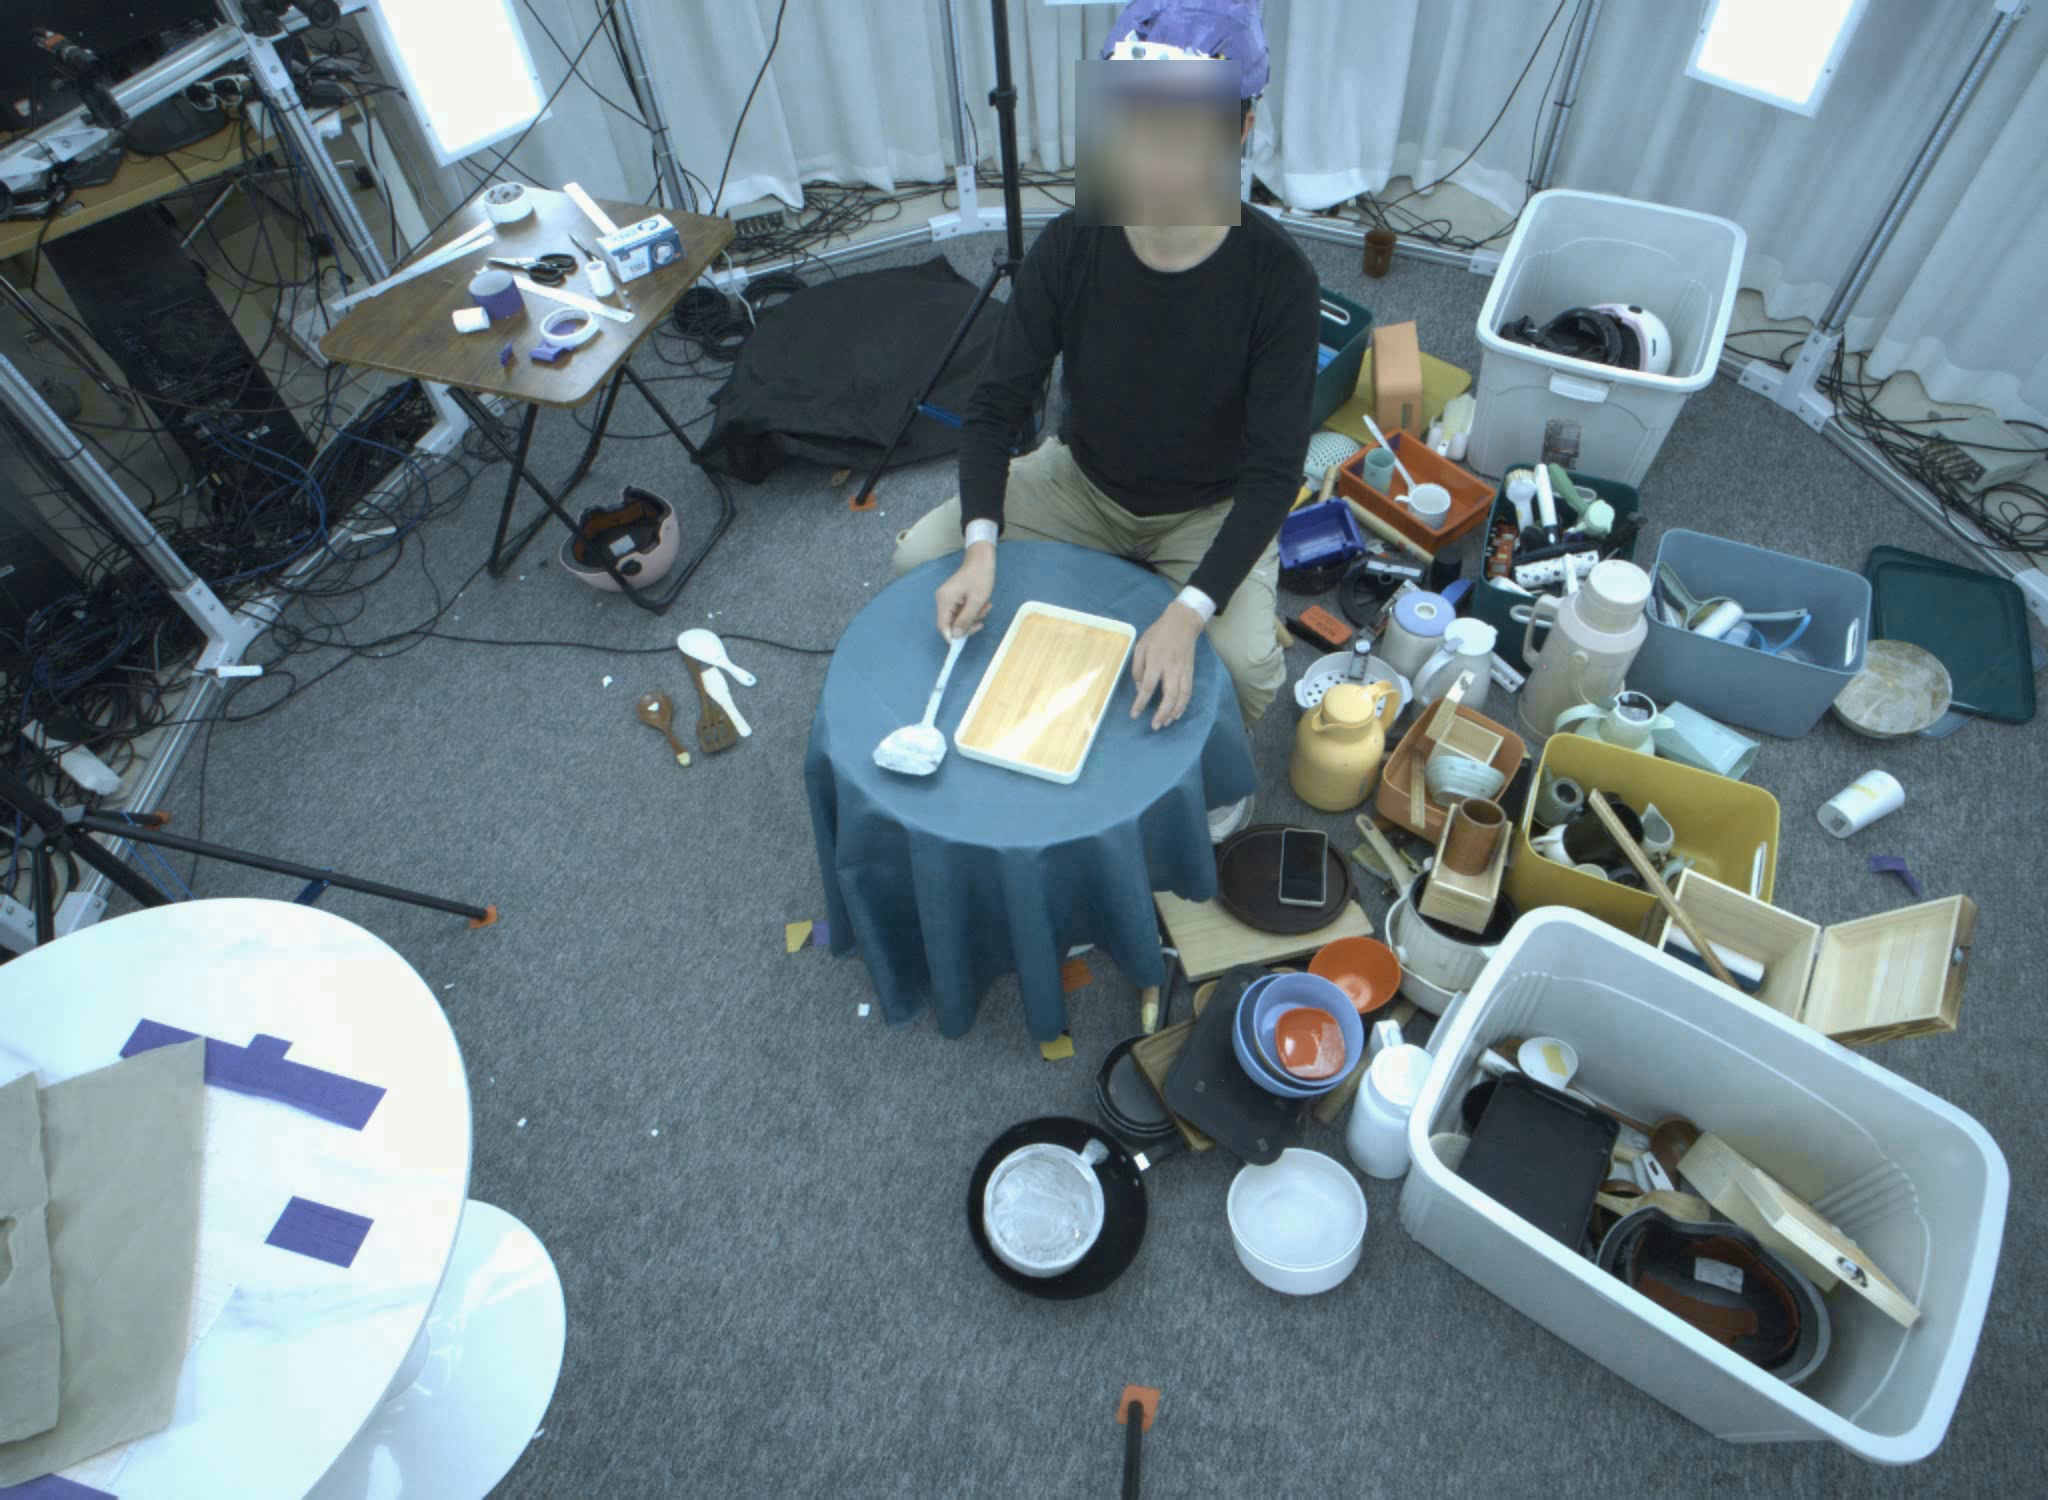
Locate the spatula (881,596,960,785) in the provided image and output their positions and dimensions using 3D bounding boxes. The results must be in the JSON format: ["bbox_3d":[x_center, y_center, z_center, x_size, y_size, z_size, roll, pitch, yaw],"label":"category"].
[{"bbox_3d":[-0.135,-0.101,1.824,0.099,0.044,0.362,16,60,-10],"label":"spatula"}]

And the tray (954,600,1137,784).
[{"bbox_3d":[0.036,-0.093,1.836,0.189,0.028,0.300,17,57,13],"label":"tray"}]
